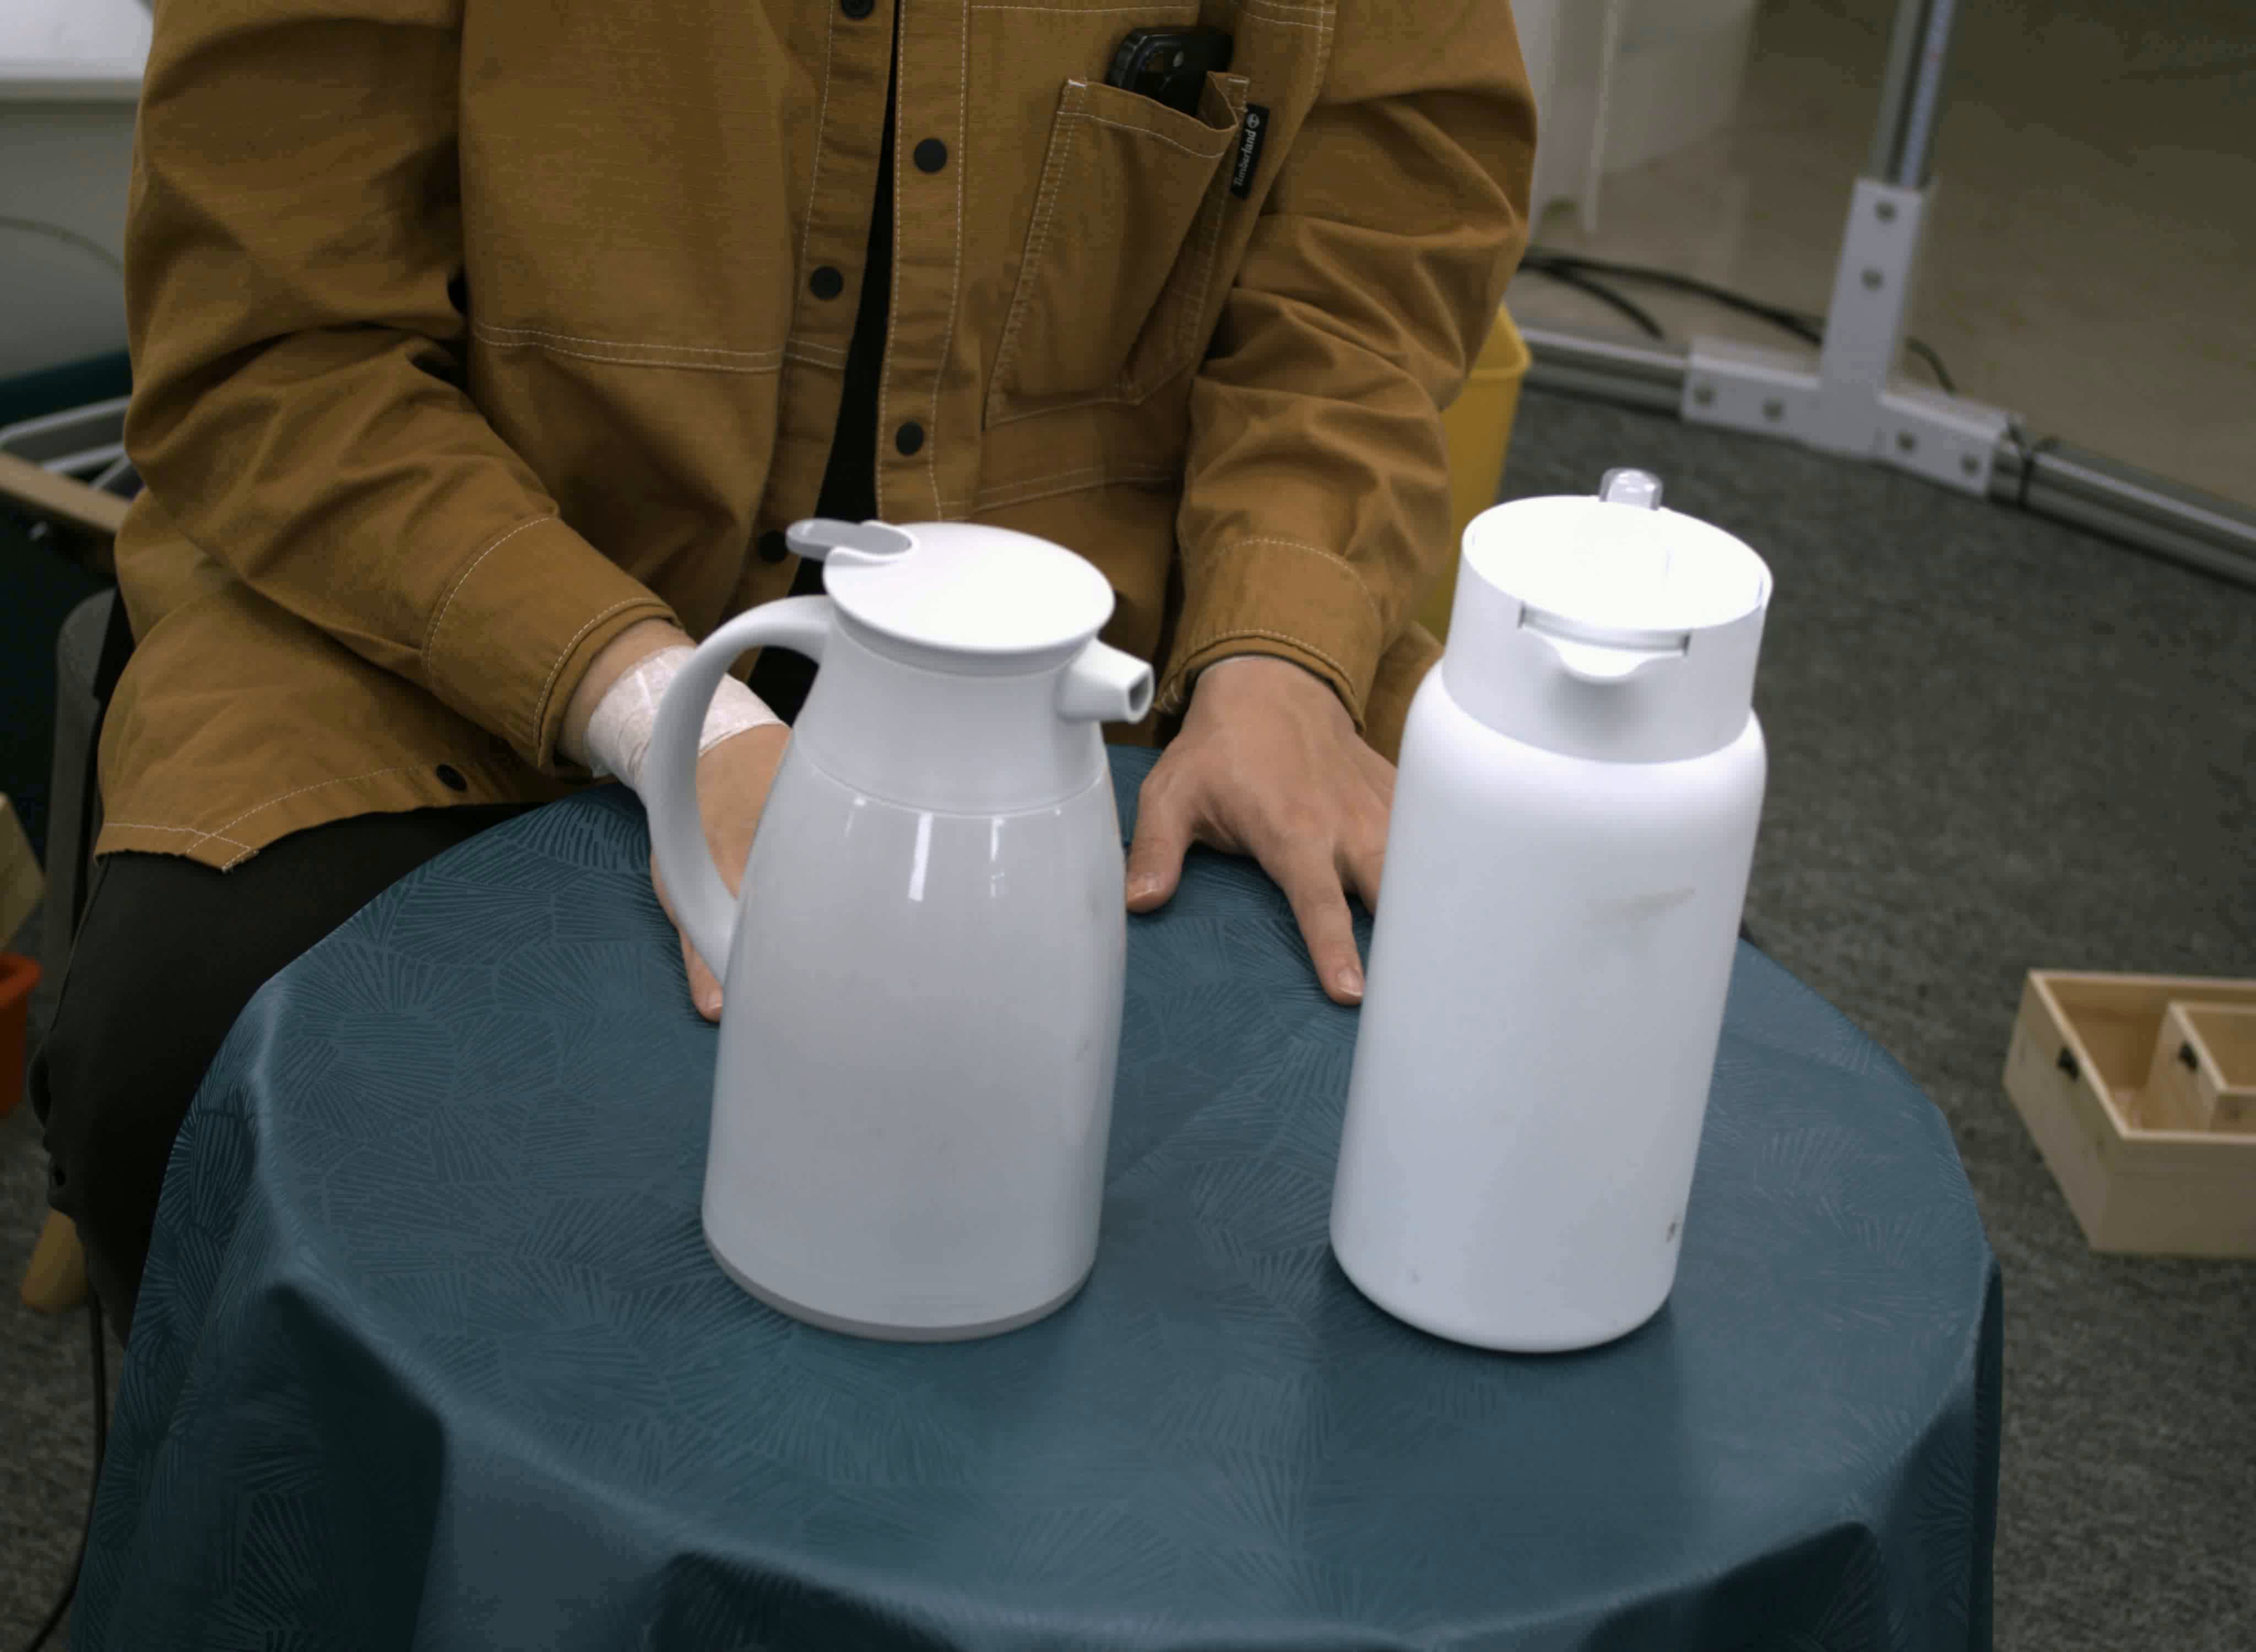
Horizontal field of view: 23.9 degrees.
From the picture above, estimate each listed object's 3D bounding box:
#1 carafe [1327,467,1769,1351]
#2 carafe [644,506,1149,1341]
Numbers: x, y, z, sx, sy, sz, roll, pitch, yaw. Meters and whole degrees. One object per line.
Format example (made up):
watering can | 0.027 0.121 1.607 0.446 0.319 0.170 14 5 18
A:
carafe | 0.139 0.023 1.740 0.123 0.268 0.173 7 26 6
carafe | -0.081 0.021 1.715 0.168 0.248 0.132 16 27 20
